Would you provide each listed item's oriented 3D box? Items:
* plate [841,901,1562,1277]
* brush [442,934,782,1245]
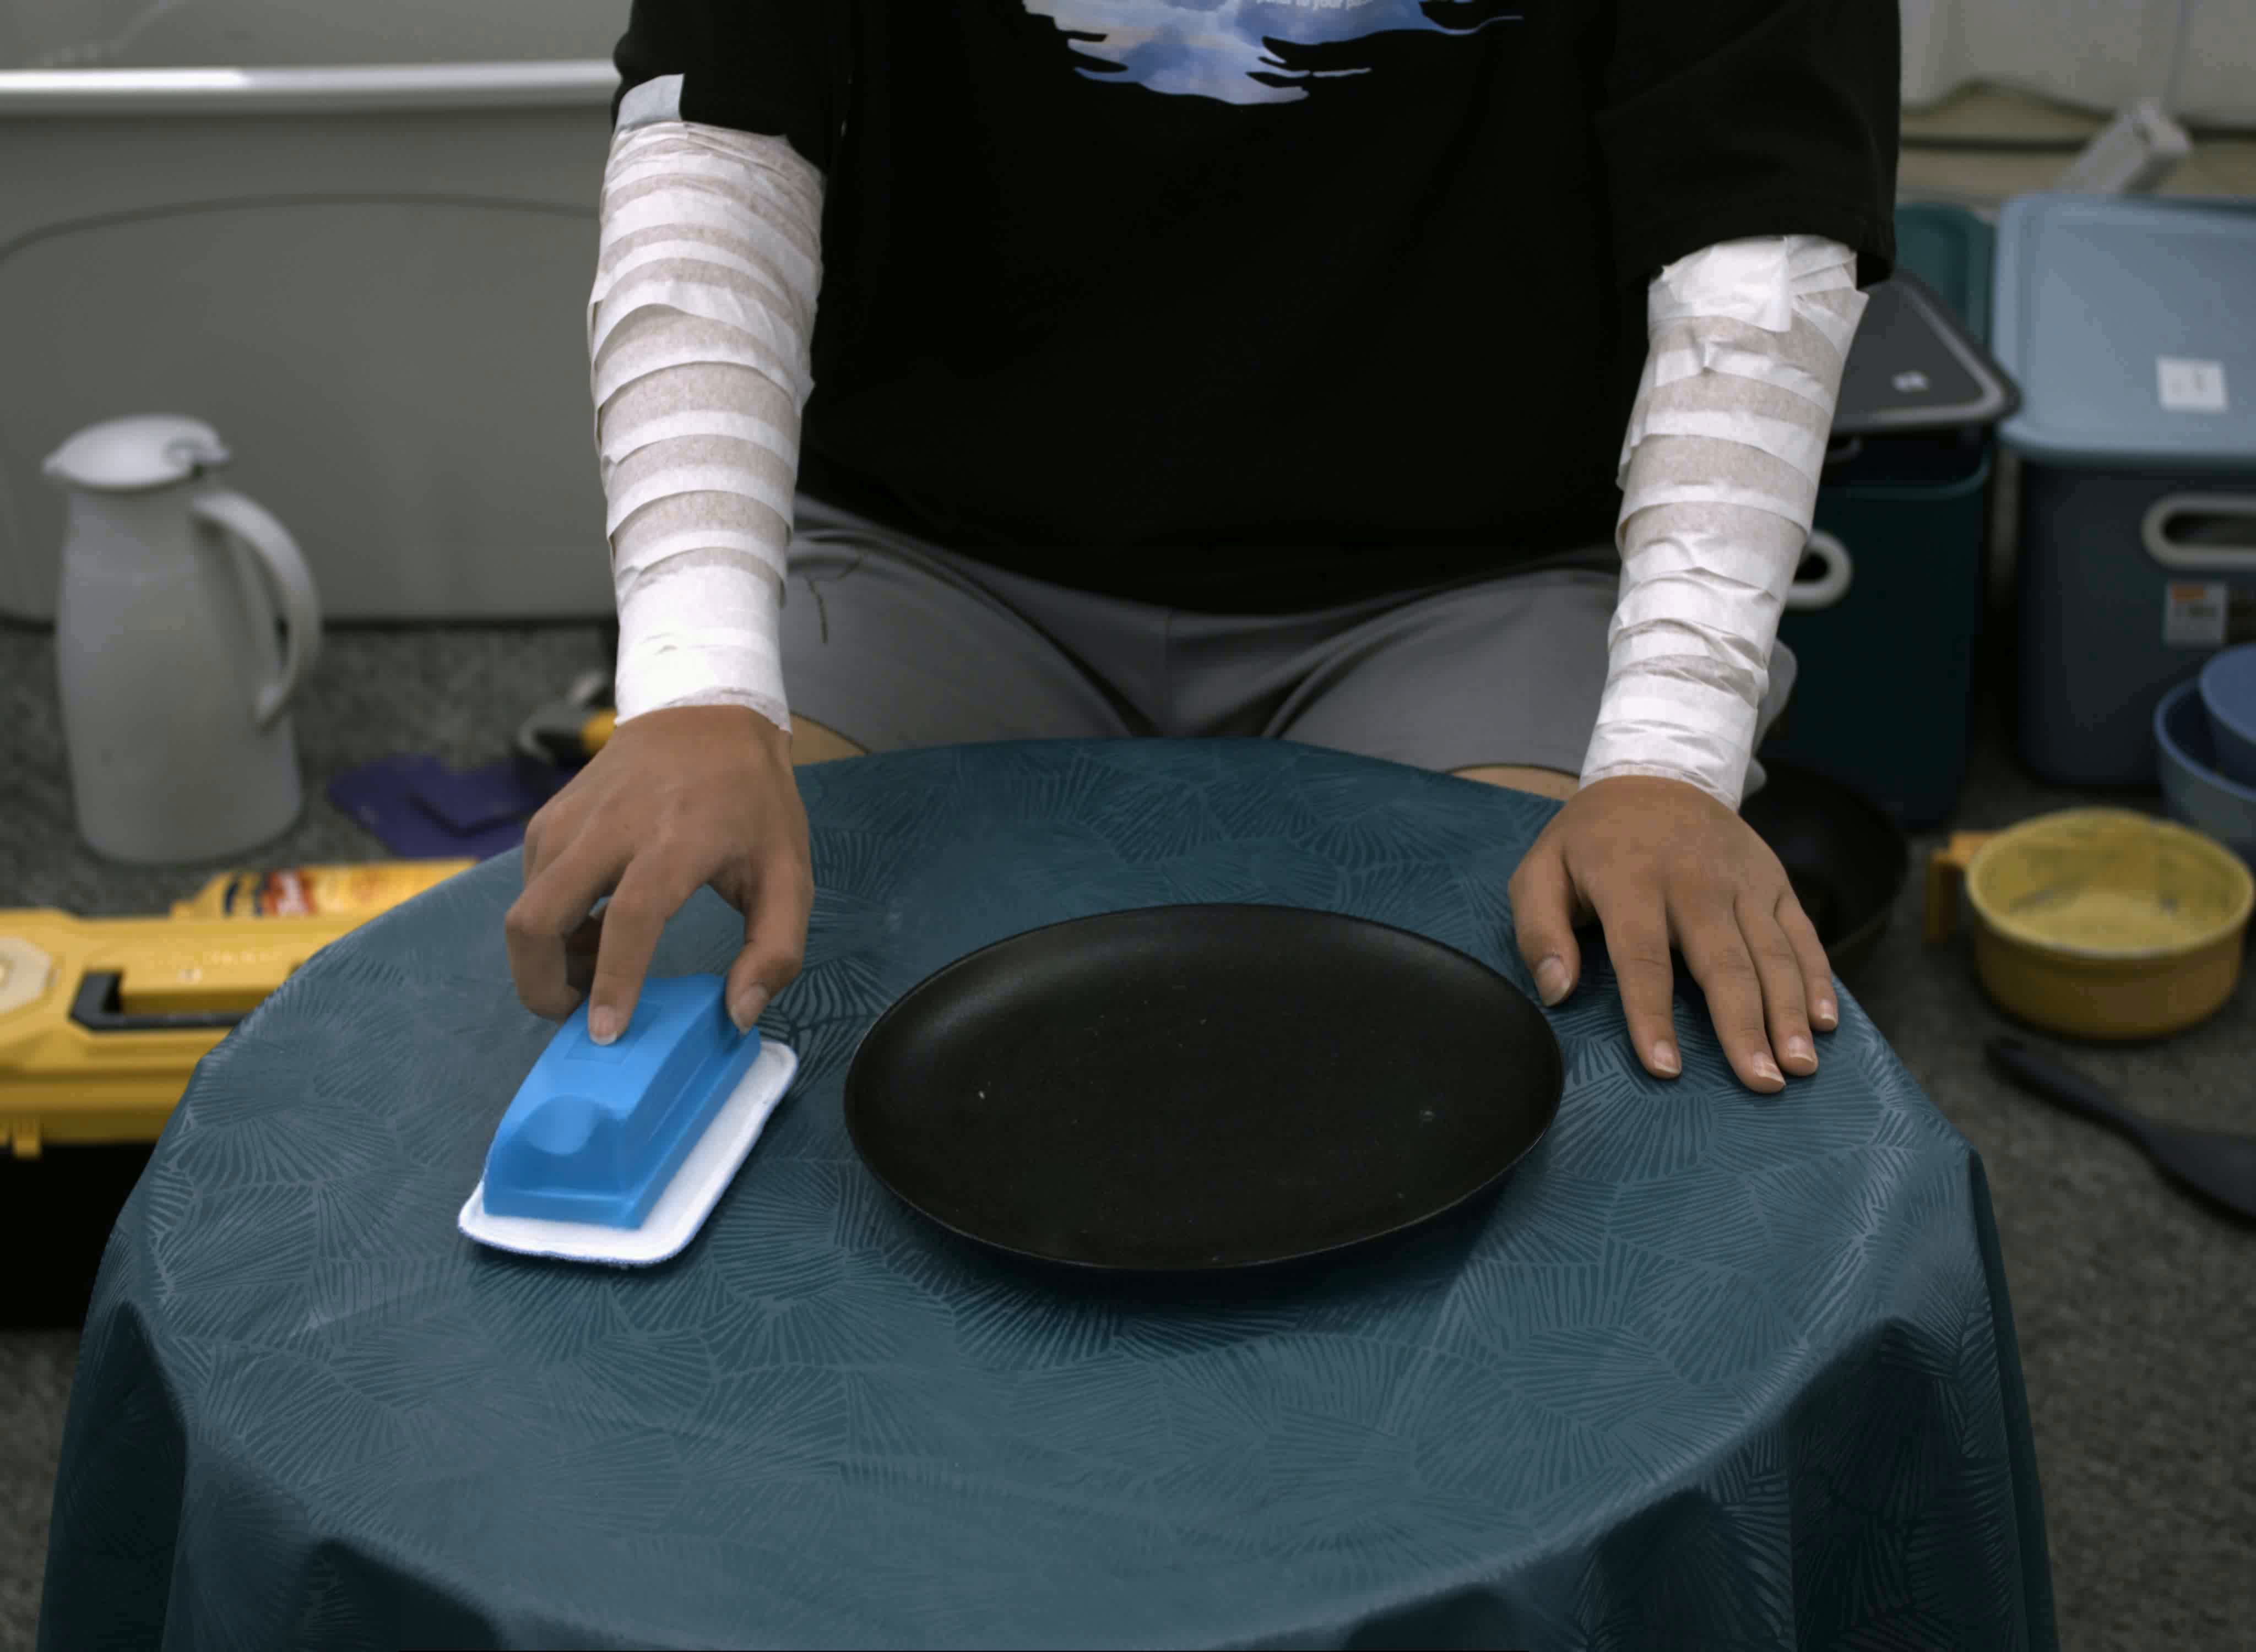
[{"bbox_3d":[0.025,0.092,1.890,0.243,0.023,0.248,-2,27,2],"label":"plate"},{"bbox_3d":[-0.172,0.083,1.885,0.083,0.055,0.146,8,32,12],"label":"brush"}]
